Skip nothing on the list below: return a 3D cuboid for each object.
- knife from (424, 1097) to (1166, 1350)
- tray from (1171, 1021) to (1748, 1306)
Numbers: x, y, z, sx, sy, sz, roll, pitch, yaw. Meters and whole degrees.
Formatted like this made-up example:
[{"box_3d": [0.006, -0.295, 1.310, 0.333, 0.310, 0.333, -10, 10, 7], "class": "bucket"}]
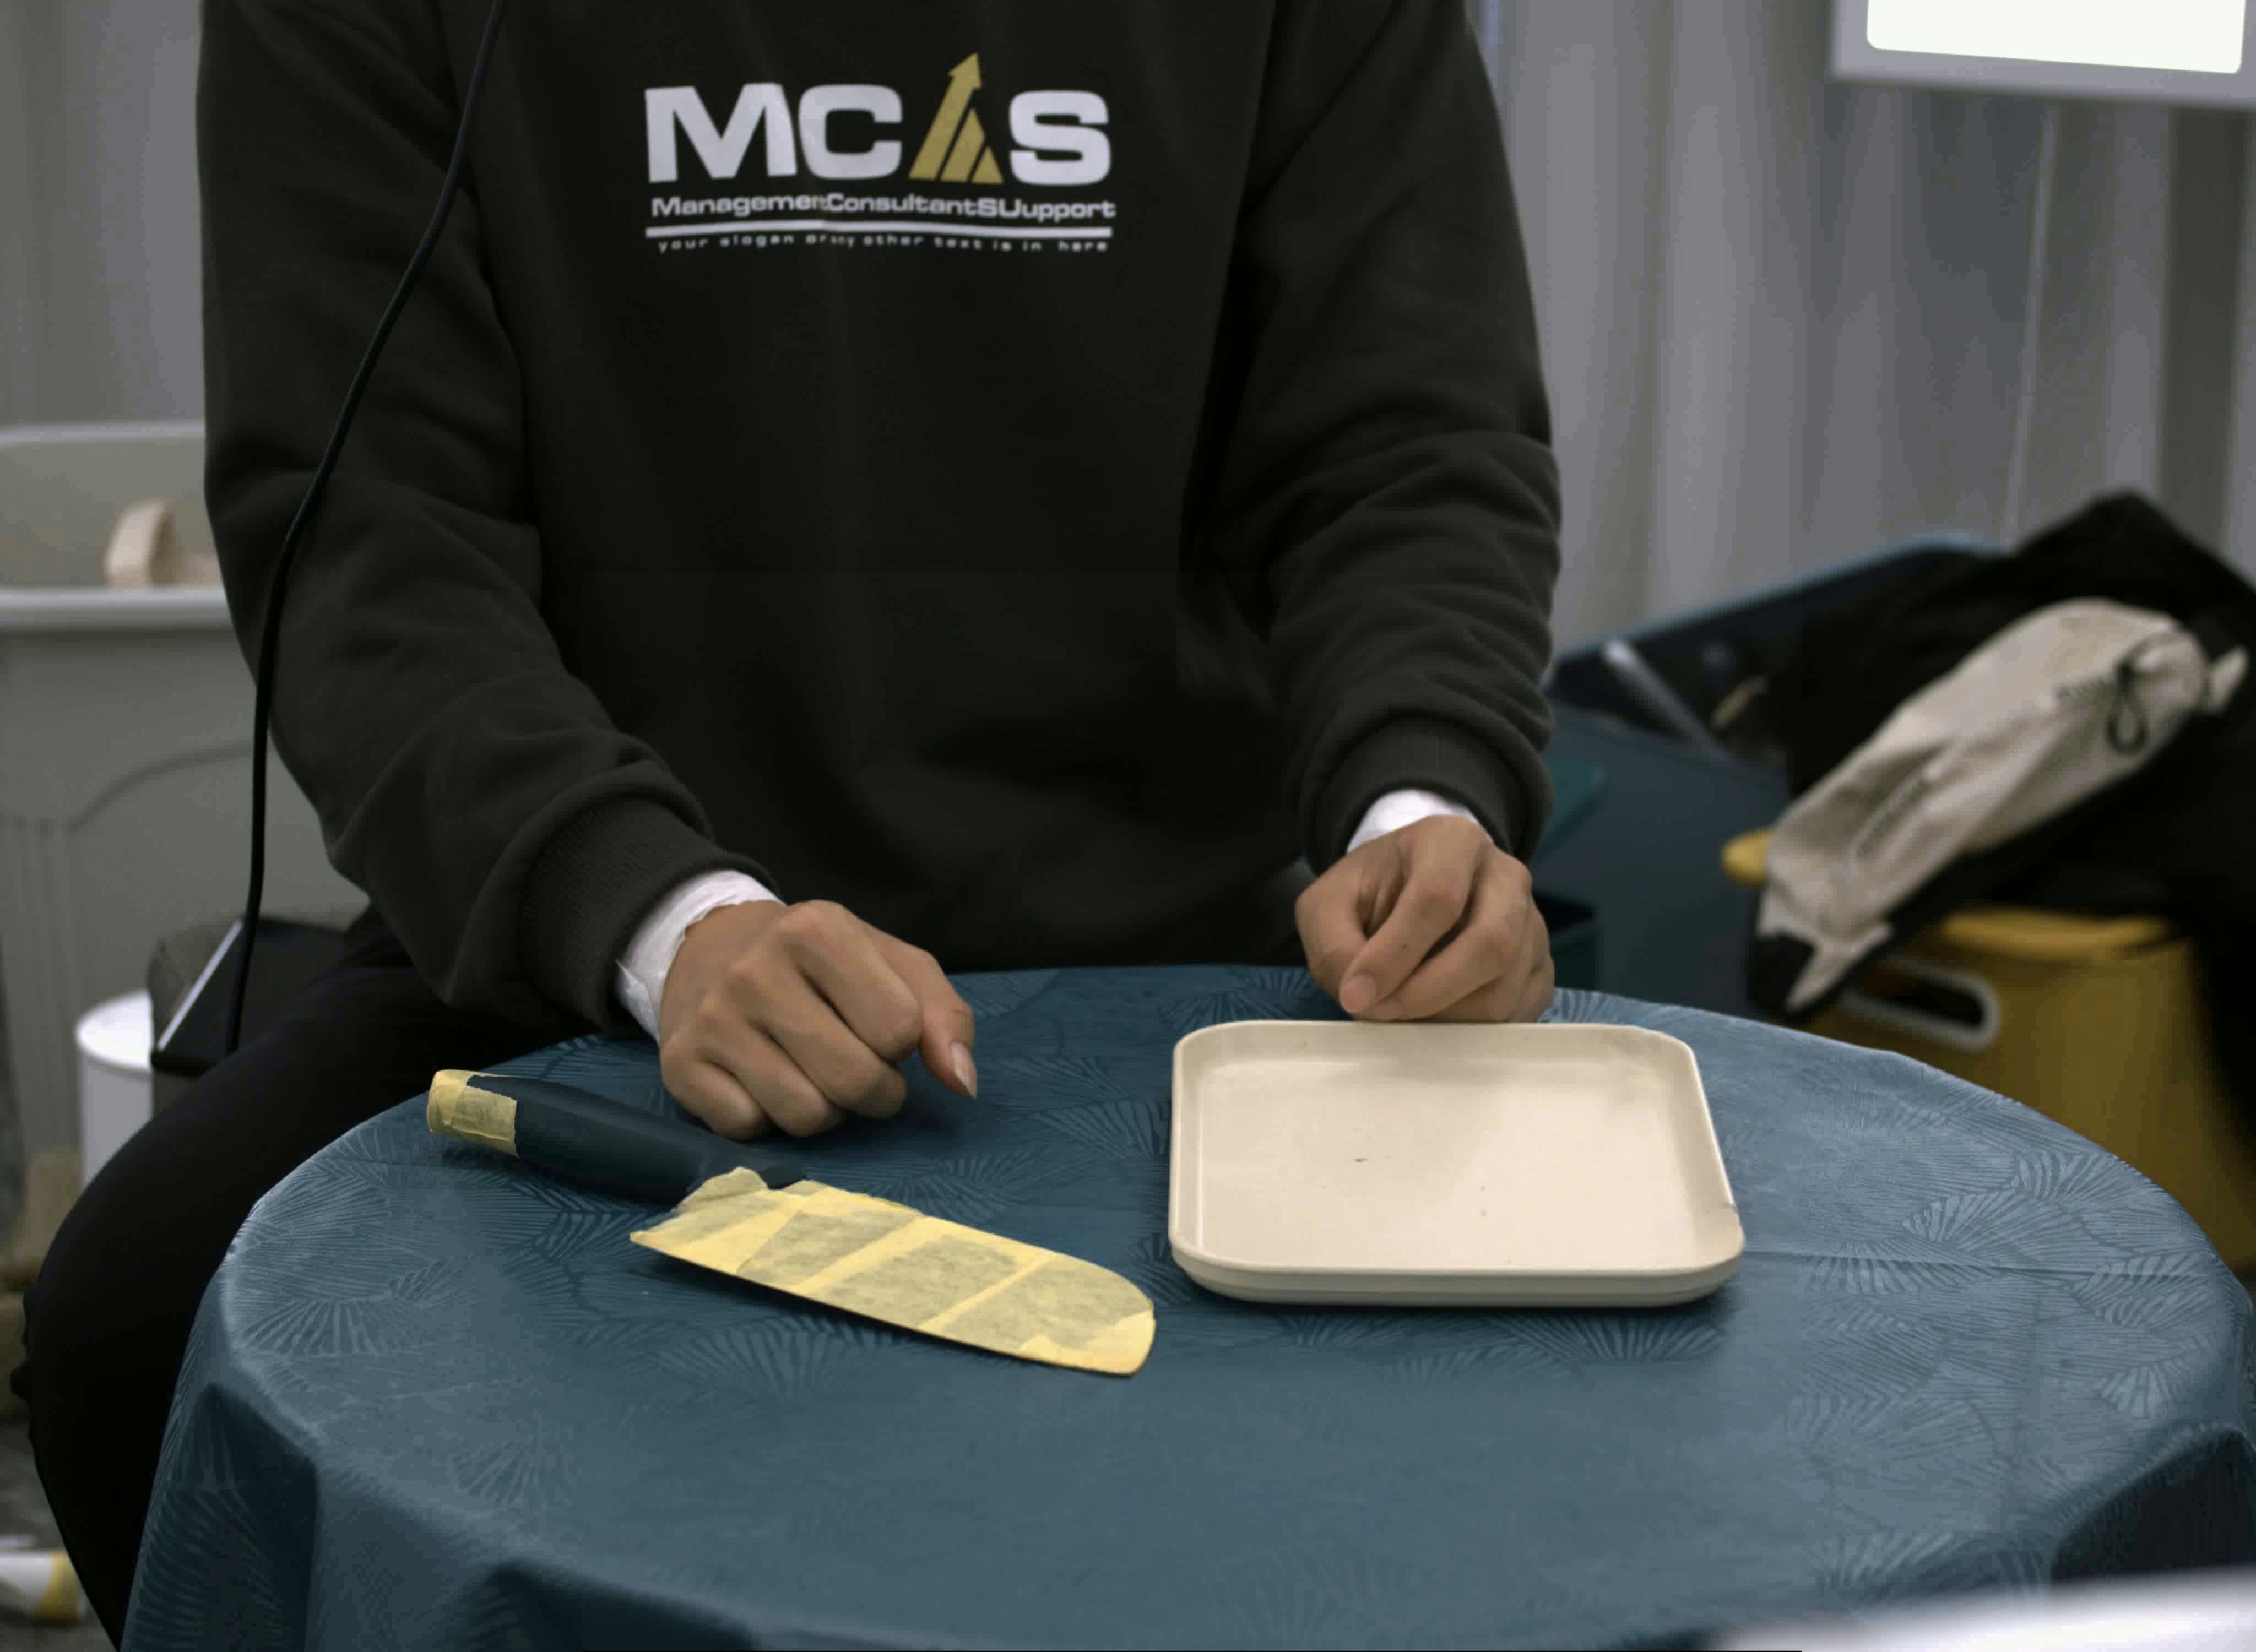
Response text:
[{"box_3d": [-0.108, 0.120, 1.566, 0.286, 0.027, 0.081, 12, 17, 34], "class": "knife"}, {"box_3d": [0.098, 0.103, 1.628, 0.171, 0.017, 0.238, 0, 15, 1], "class": "tray"}]
